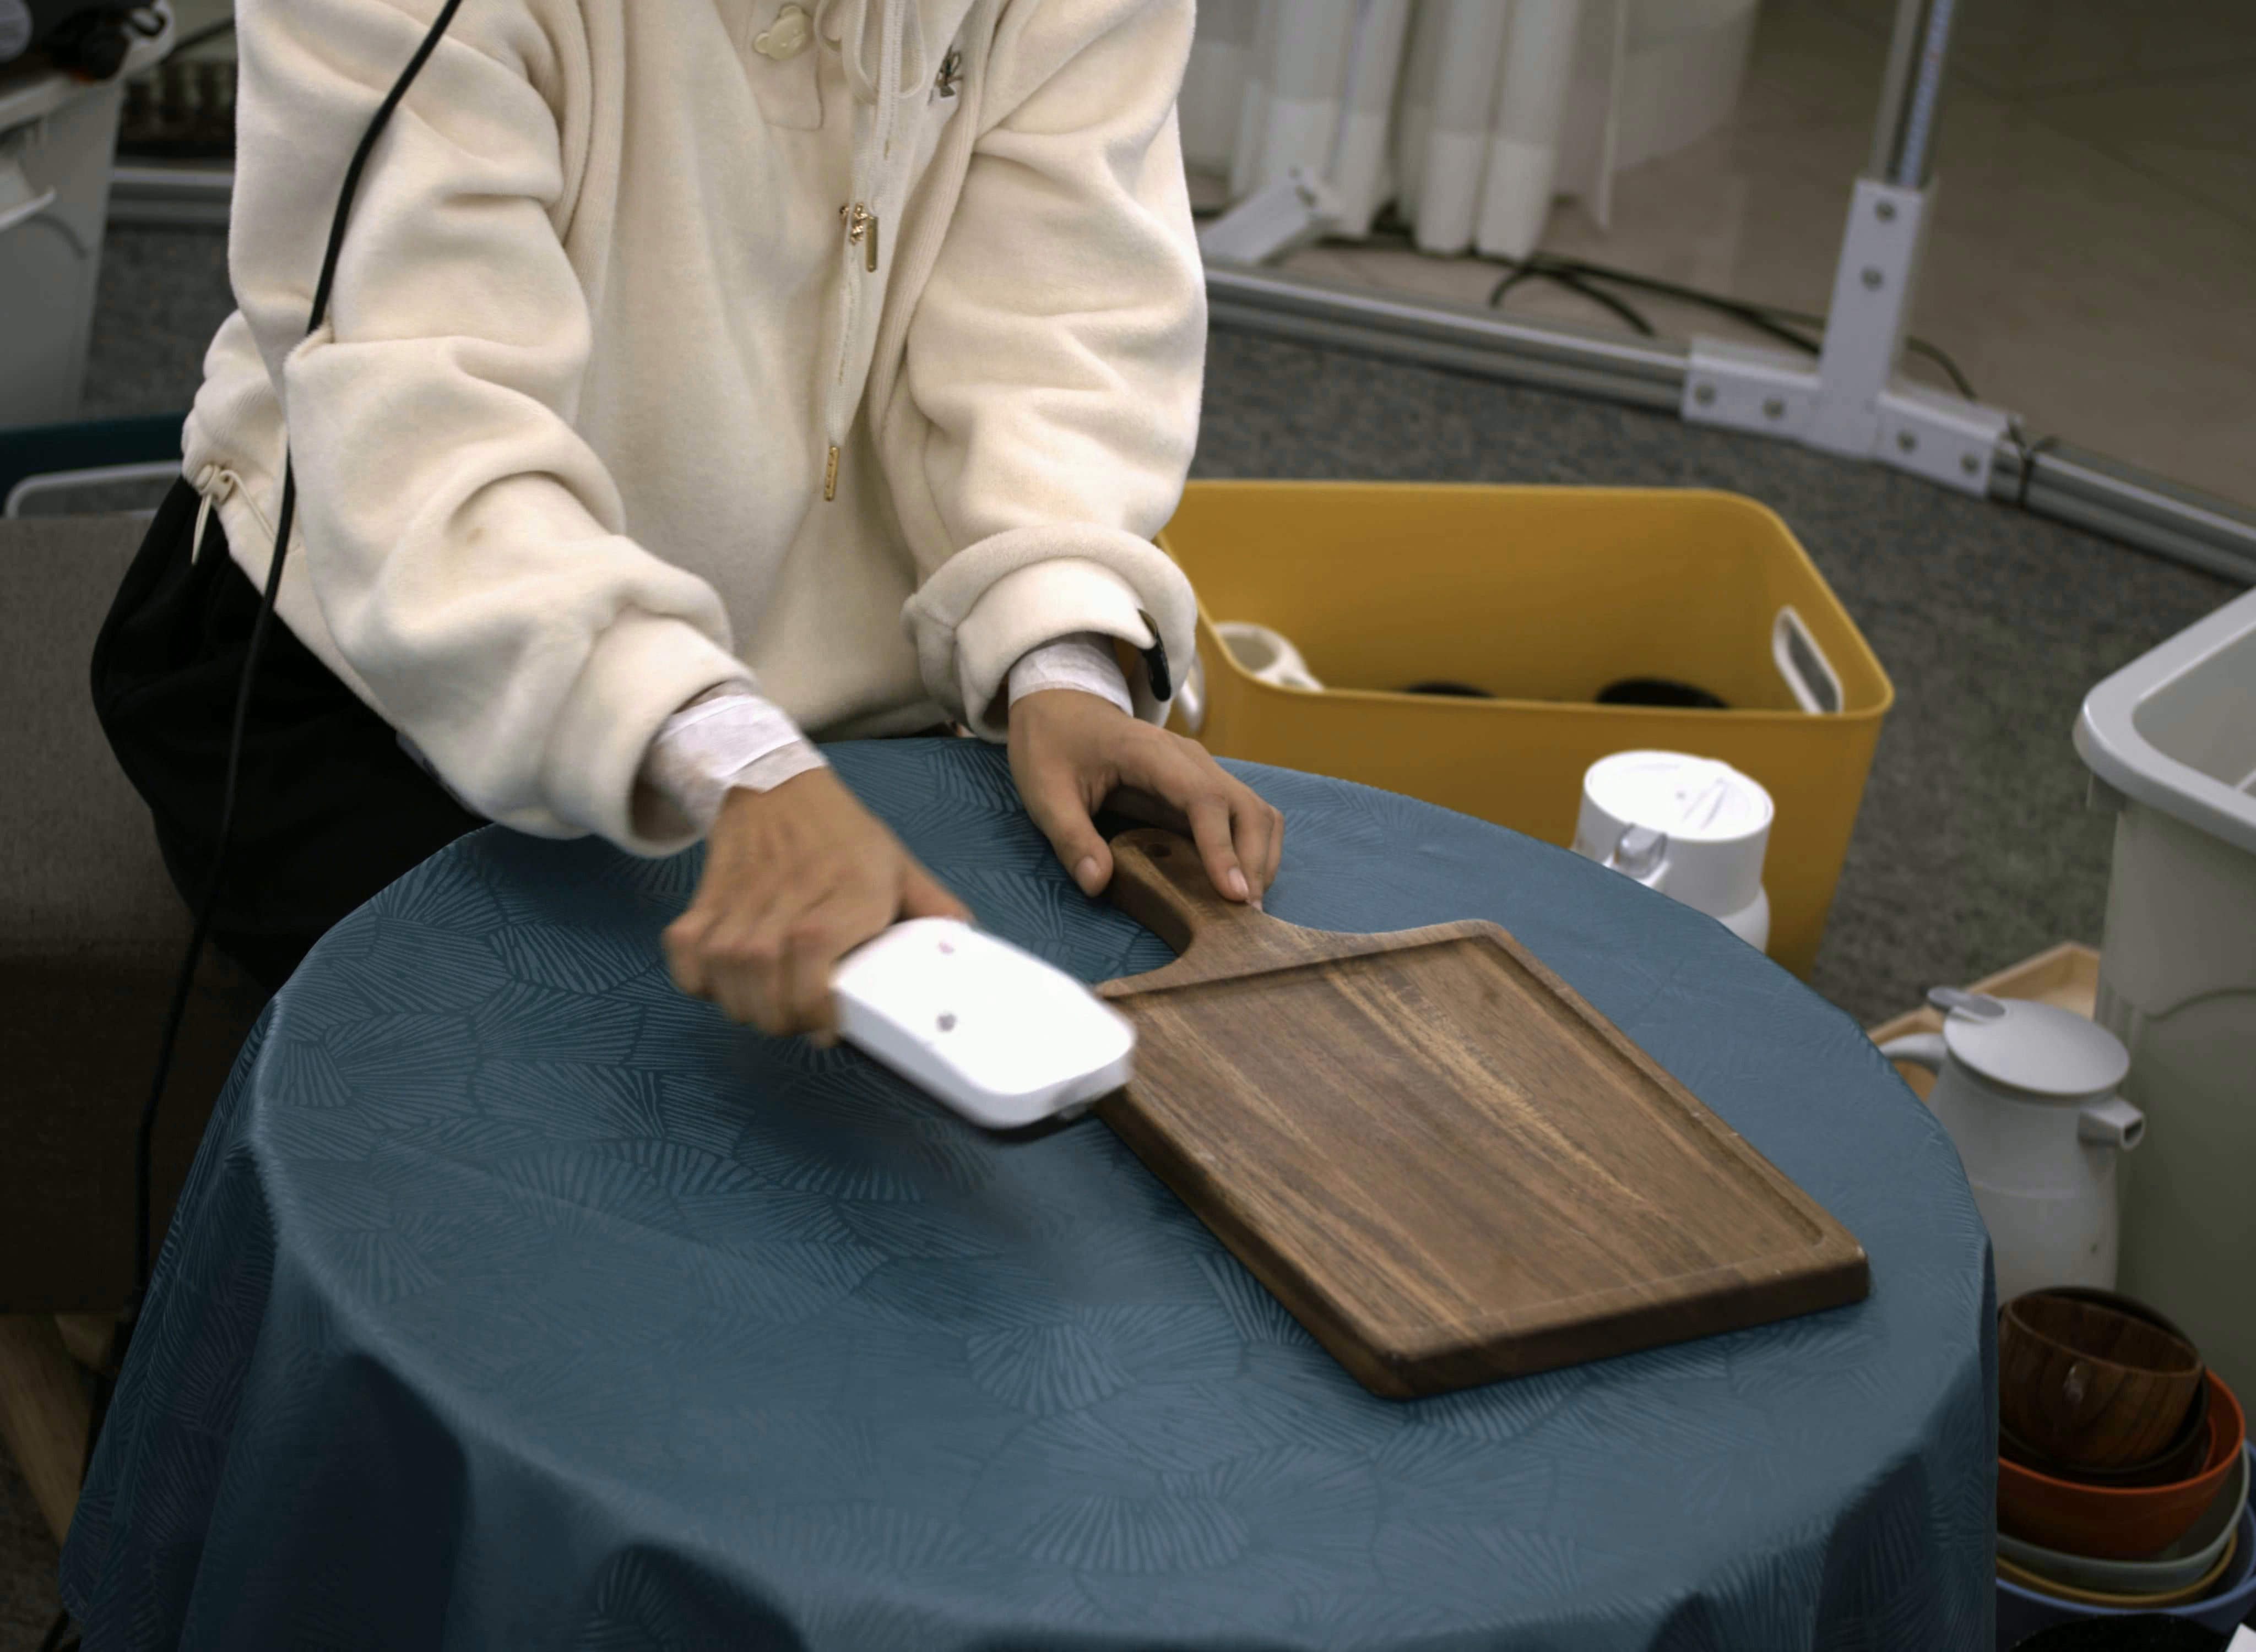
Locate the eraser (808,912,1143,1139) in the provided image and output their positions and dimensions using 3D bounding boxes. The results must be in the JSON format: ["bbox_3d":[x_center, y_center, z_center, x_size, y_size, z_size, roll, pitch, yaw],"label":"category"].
[{"bbox_3d":[-0.051,0.063,1.787,0.063,0.034,0.132,-18,30,-31],"label":"eraser"}]

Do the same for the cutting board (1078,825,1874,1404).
[{"bbox_3d":[0.084,0.087,1.869,0.200,0.023,0.355,-8,31,-28],"label":"cutting board"}]
